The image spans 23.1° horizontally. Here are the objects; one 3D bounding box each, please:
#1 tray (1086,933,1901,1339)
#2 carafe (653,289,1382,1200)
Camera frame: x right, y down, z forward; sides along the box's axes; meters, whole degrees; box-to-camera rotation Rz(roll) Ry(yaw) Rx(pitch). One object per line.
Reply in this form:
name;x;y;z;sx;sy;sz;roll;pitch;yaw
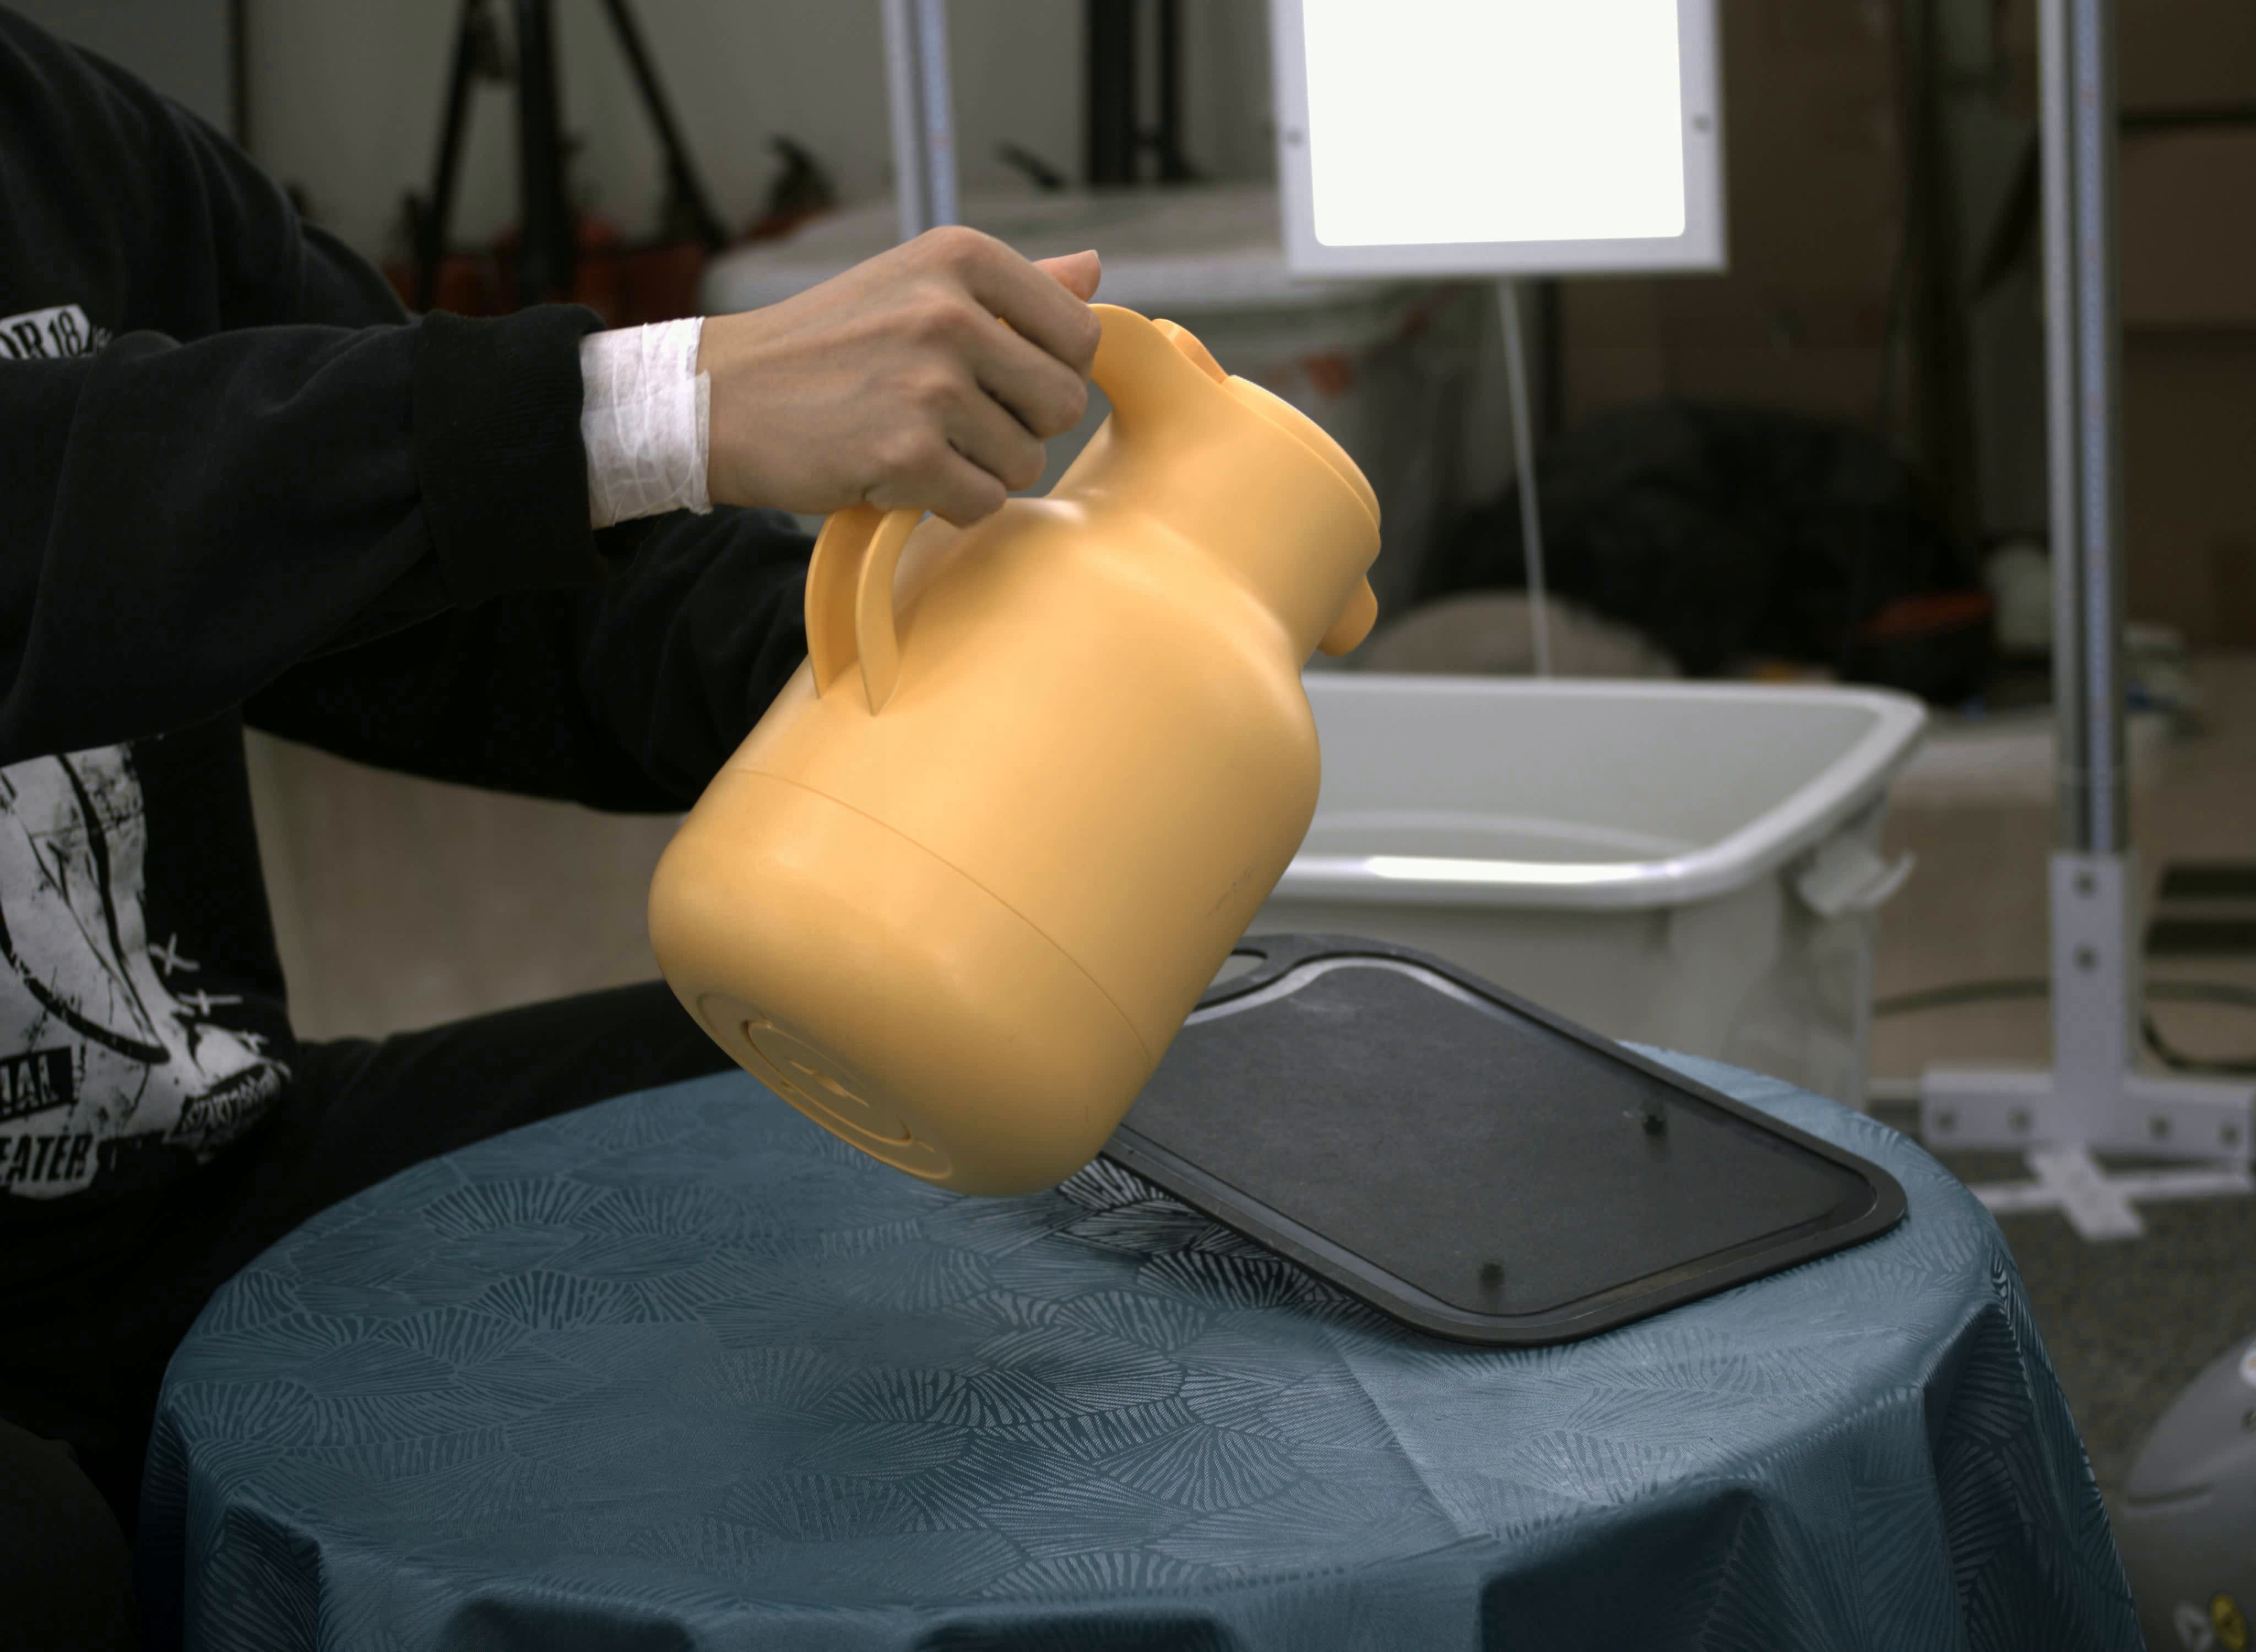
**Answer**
tray;0.093;0.096;1.866;0.206;0.010;0.331;-14;25;-34
carafe;-0.033;-0.034;1.701;0.167;0.200;0.258;15;65;47
